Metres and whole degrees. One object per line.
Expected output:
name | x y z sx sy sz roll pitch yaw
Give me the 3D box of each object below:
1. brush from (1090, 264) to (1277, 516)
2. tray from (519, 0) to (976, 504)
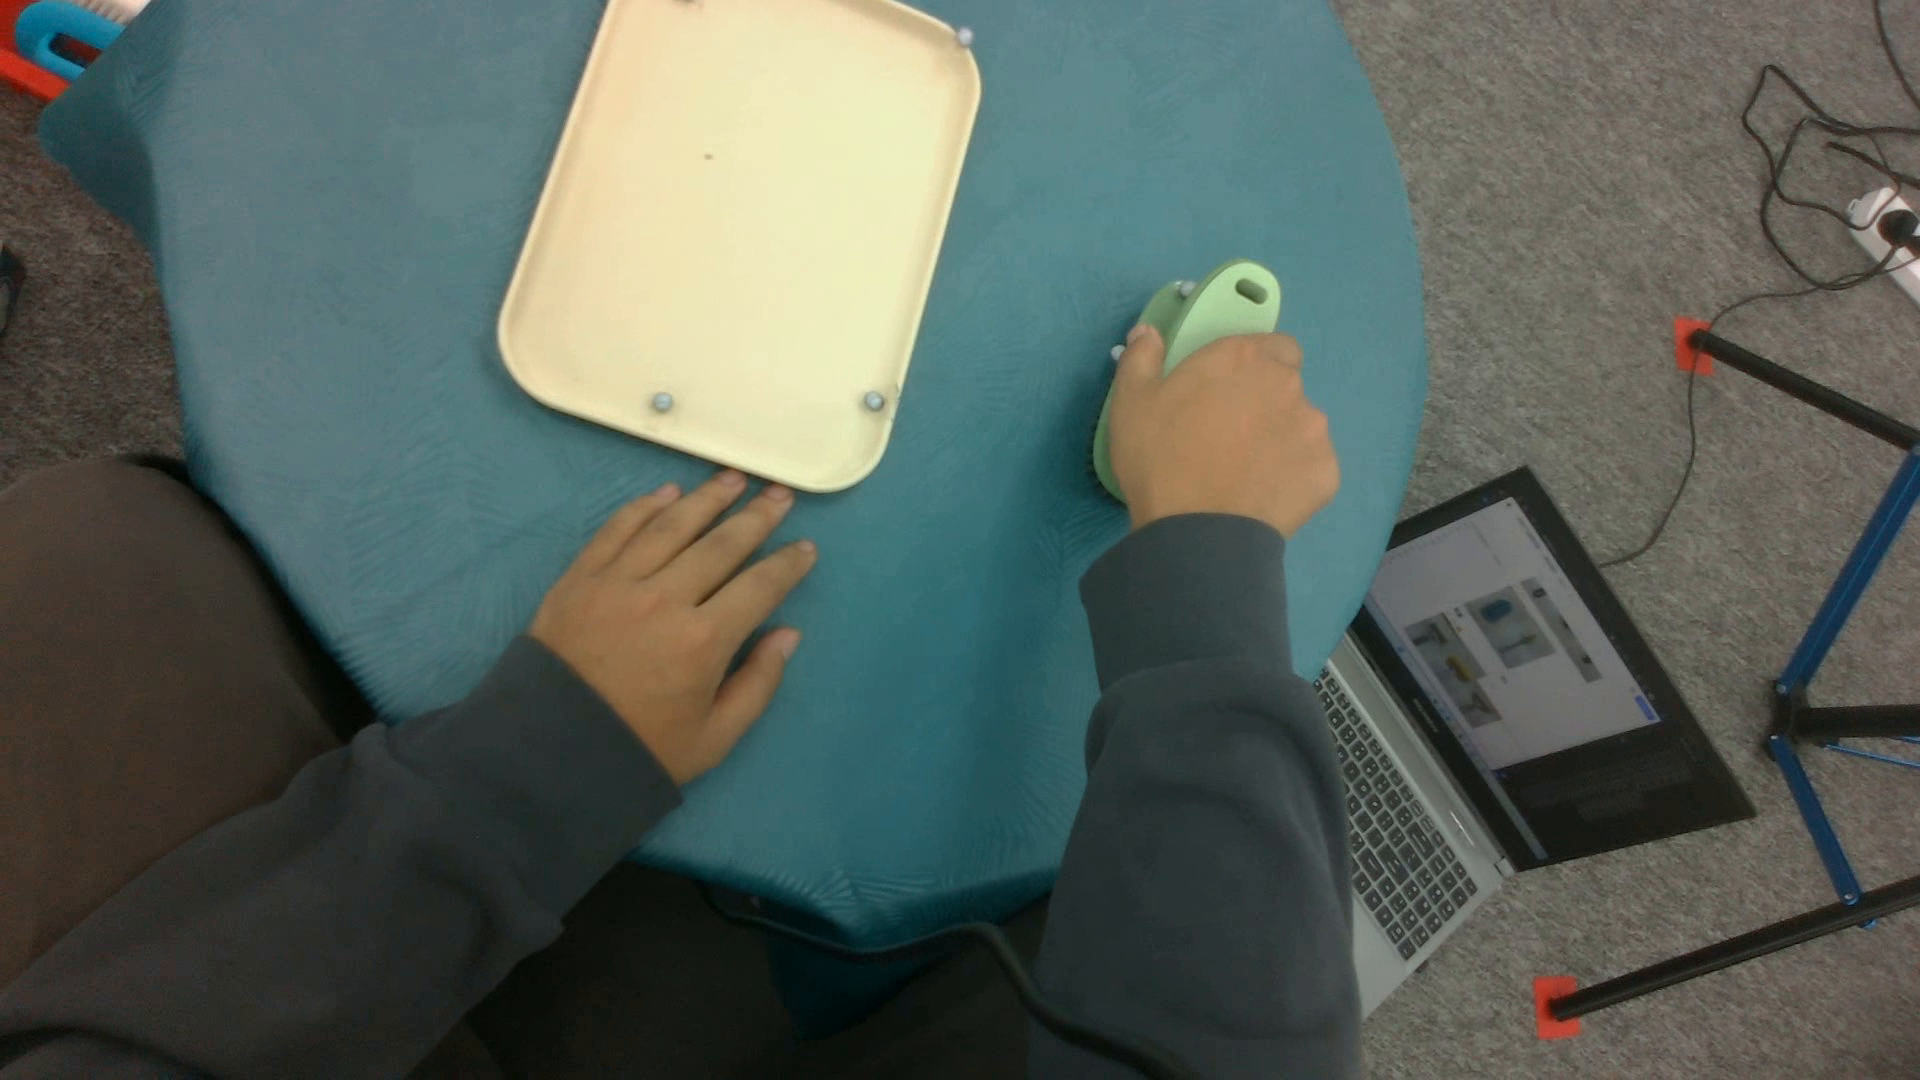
brush | 0.106 -0.072 0.667 0.059 0.075 0.123 23 87 -11
tray | -0.092 -0.143 0.634 0.171 0.017 0.240 16 76 -14
